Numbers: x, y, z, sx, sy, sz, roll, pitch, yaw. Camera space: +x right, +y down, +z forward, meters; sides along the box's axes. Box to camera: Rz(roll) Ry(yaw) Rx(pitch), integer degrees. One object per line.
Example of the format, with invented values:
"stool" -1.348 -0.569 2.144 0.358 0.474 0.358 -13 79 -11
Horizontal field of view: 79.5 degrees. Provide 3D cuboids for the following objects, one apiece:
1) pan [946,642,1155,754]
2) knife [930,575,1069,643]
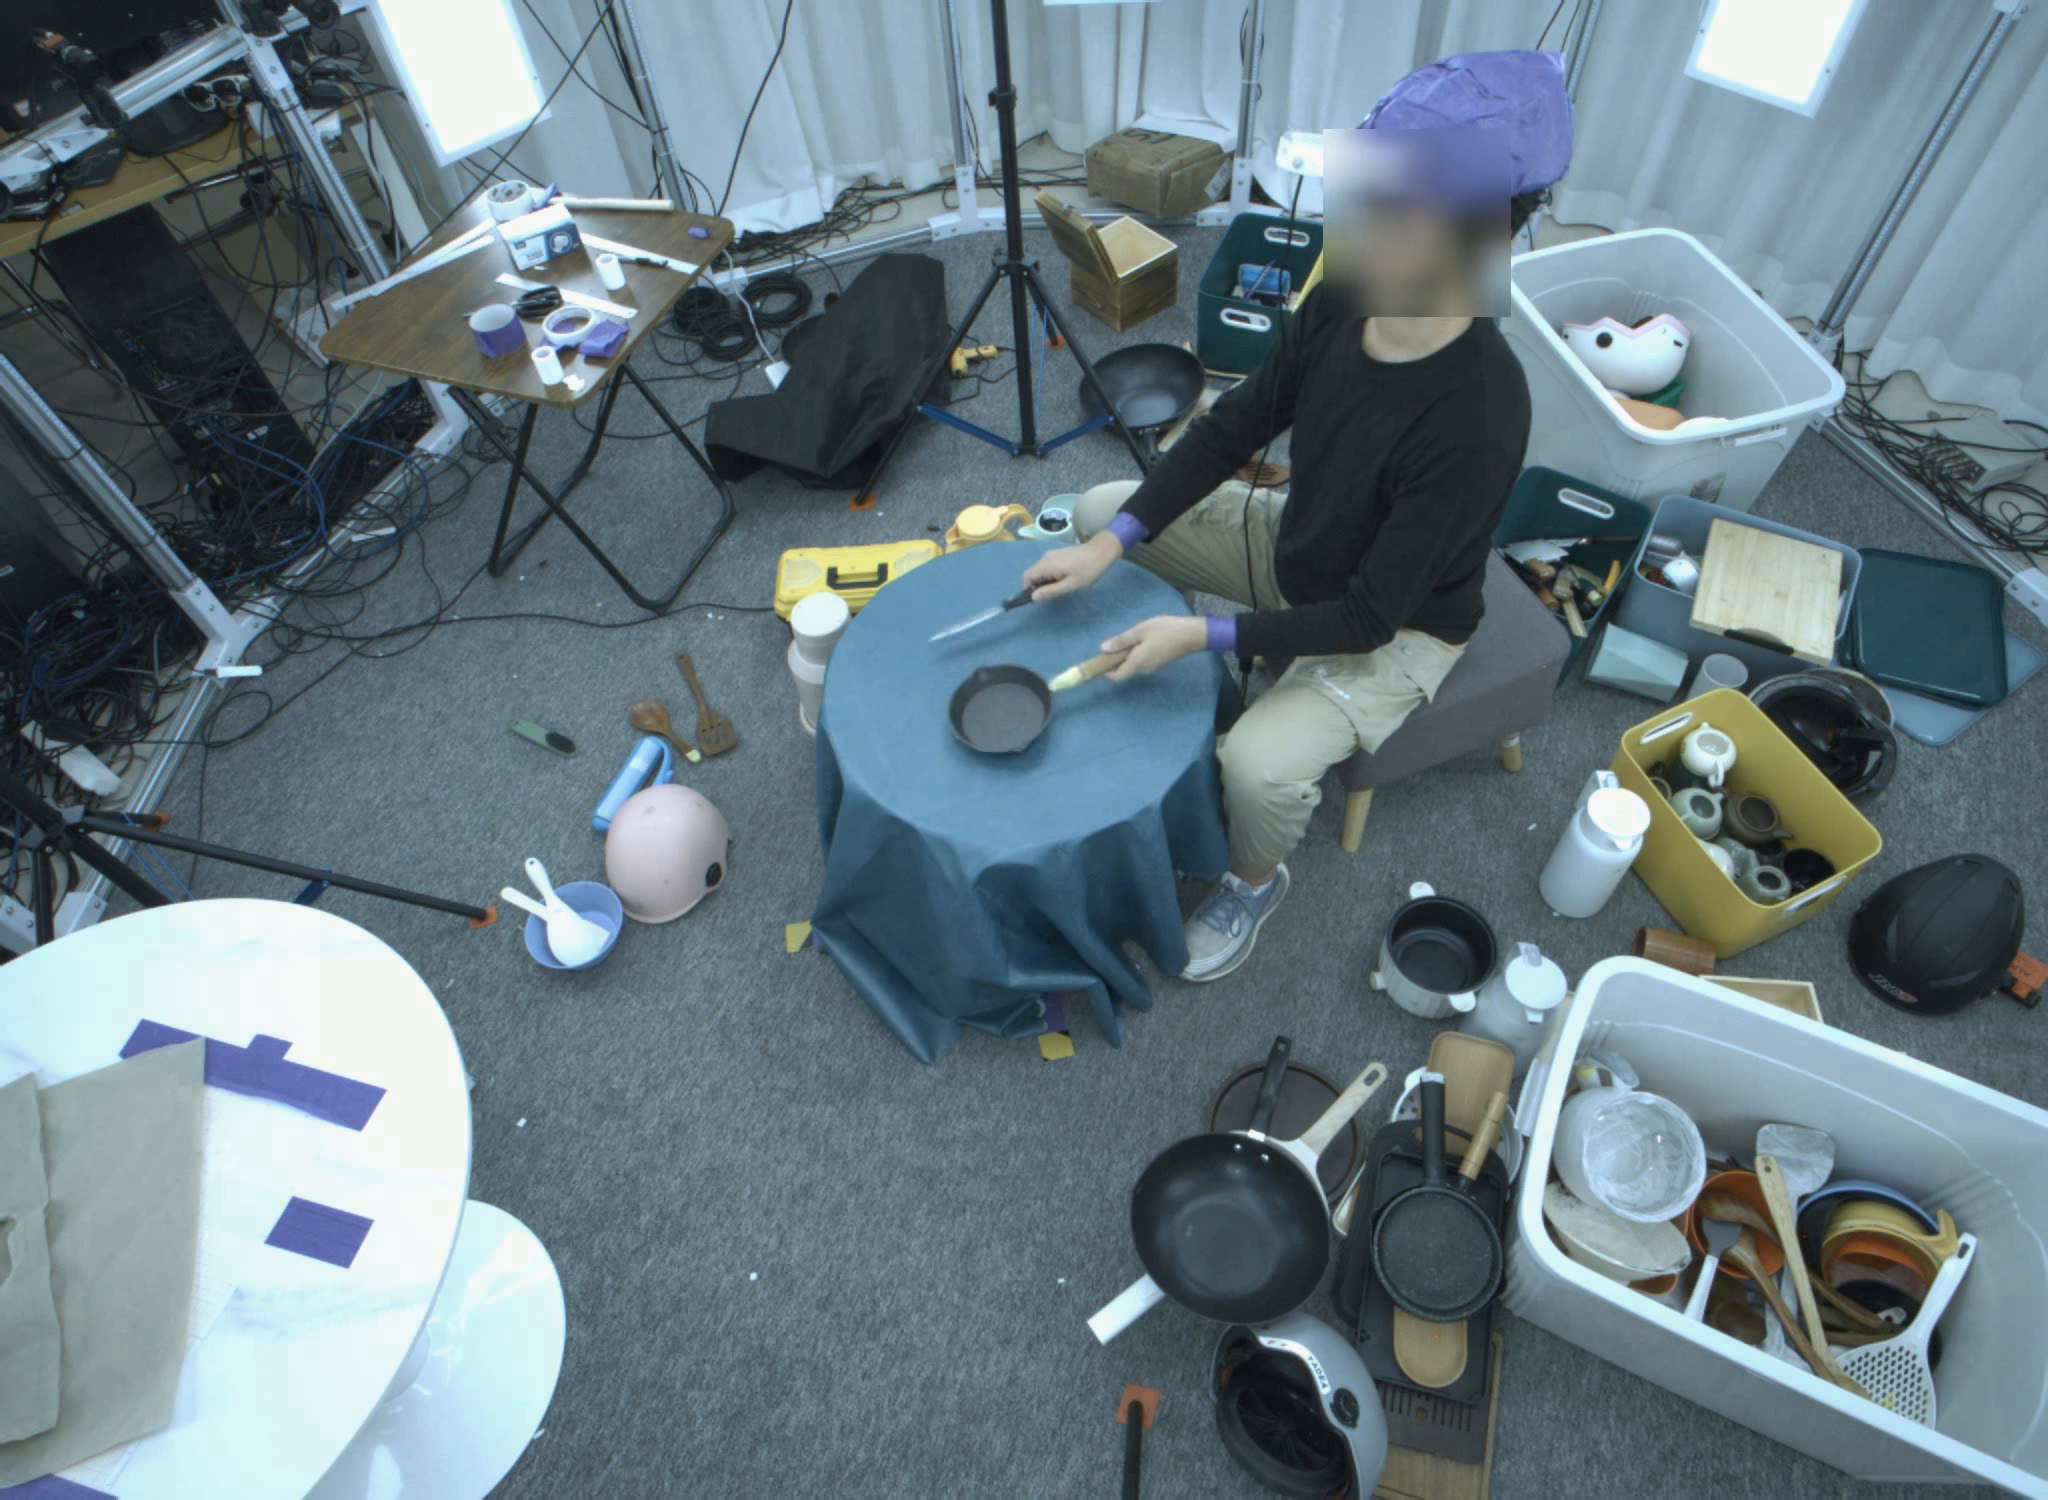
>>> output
"pan" 0.044 -0.089 1.801 0.325 0.050 0.166 -21 57 -7
"knife" -0.039 -0.216 1.884 0.239 0.016 0.024 -26 40 -11
